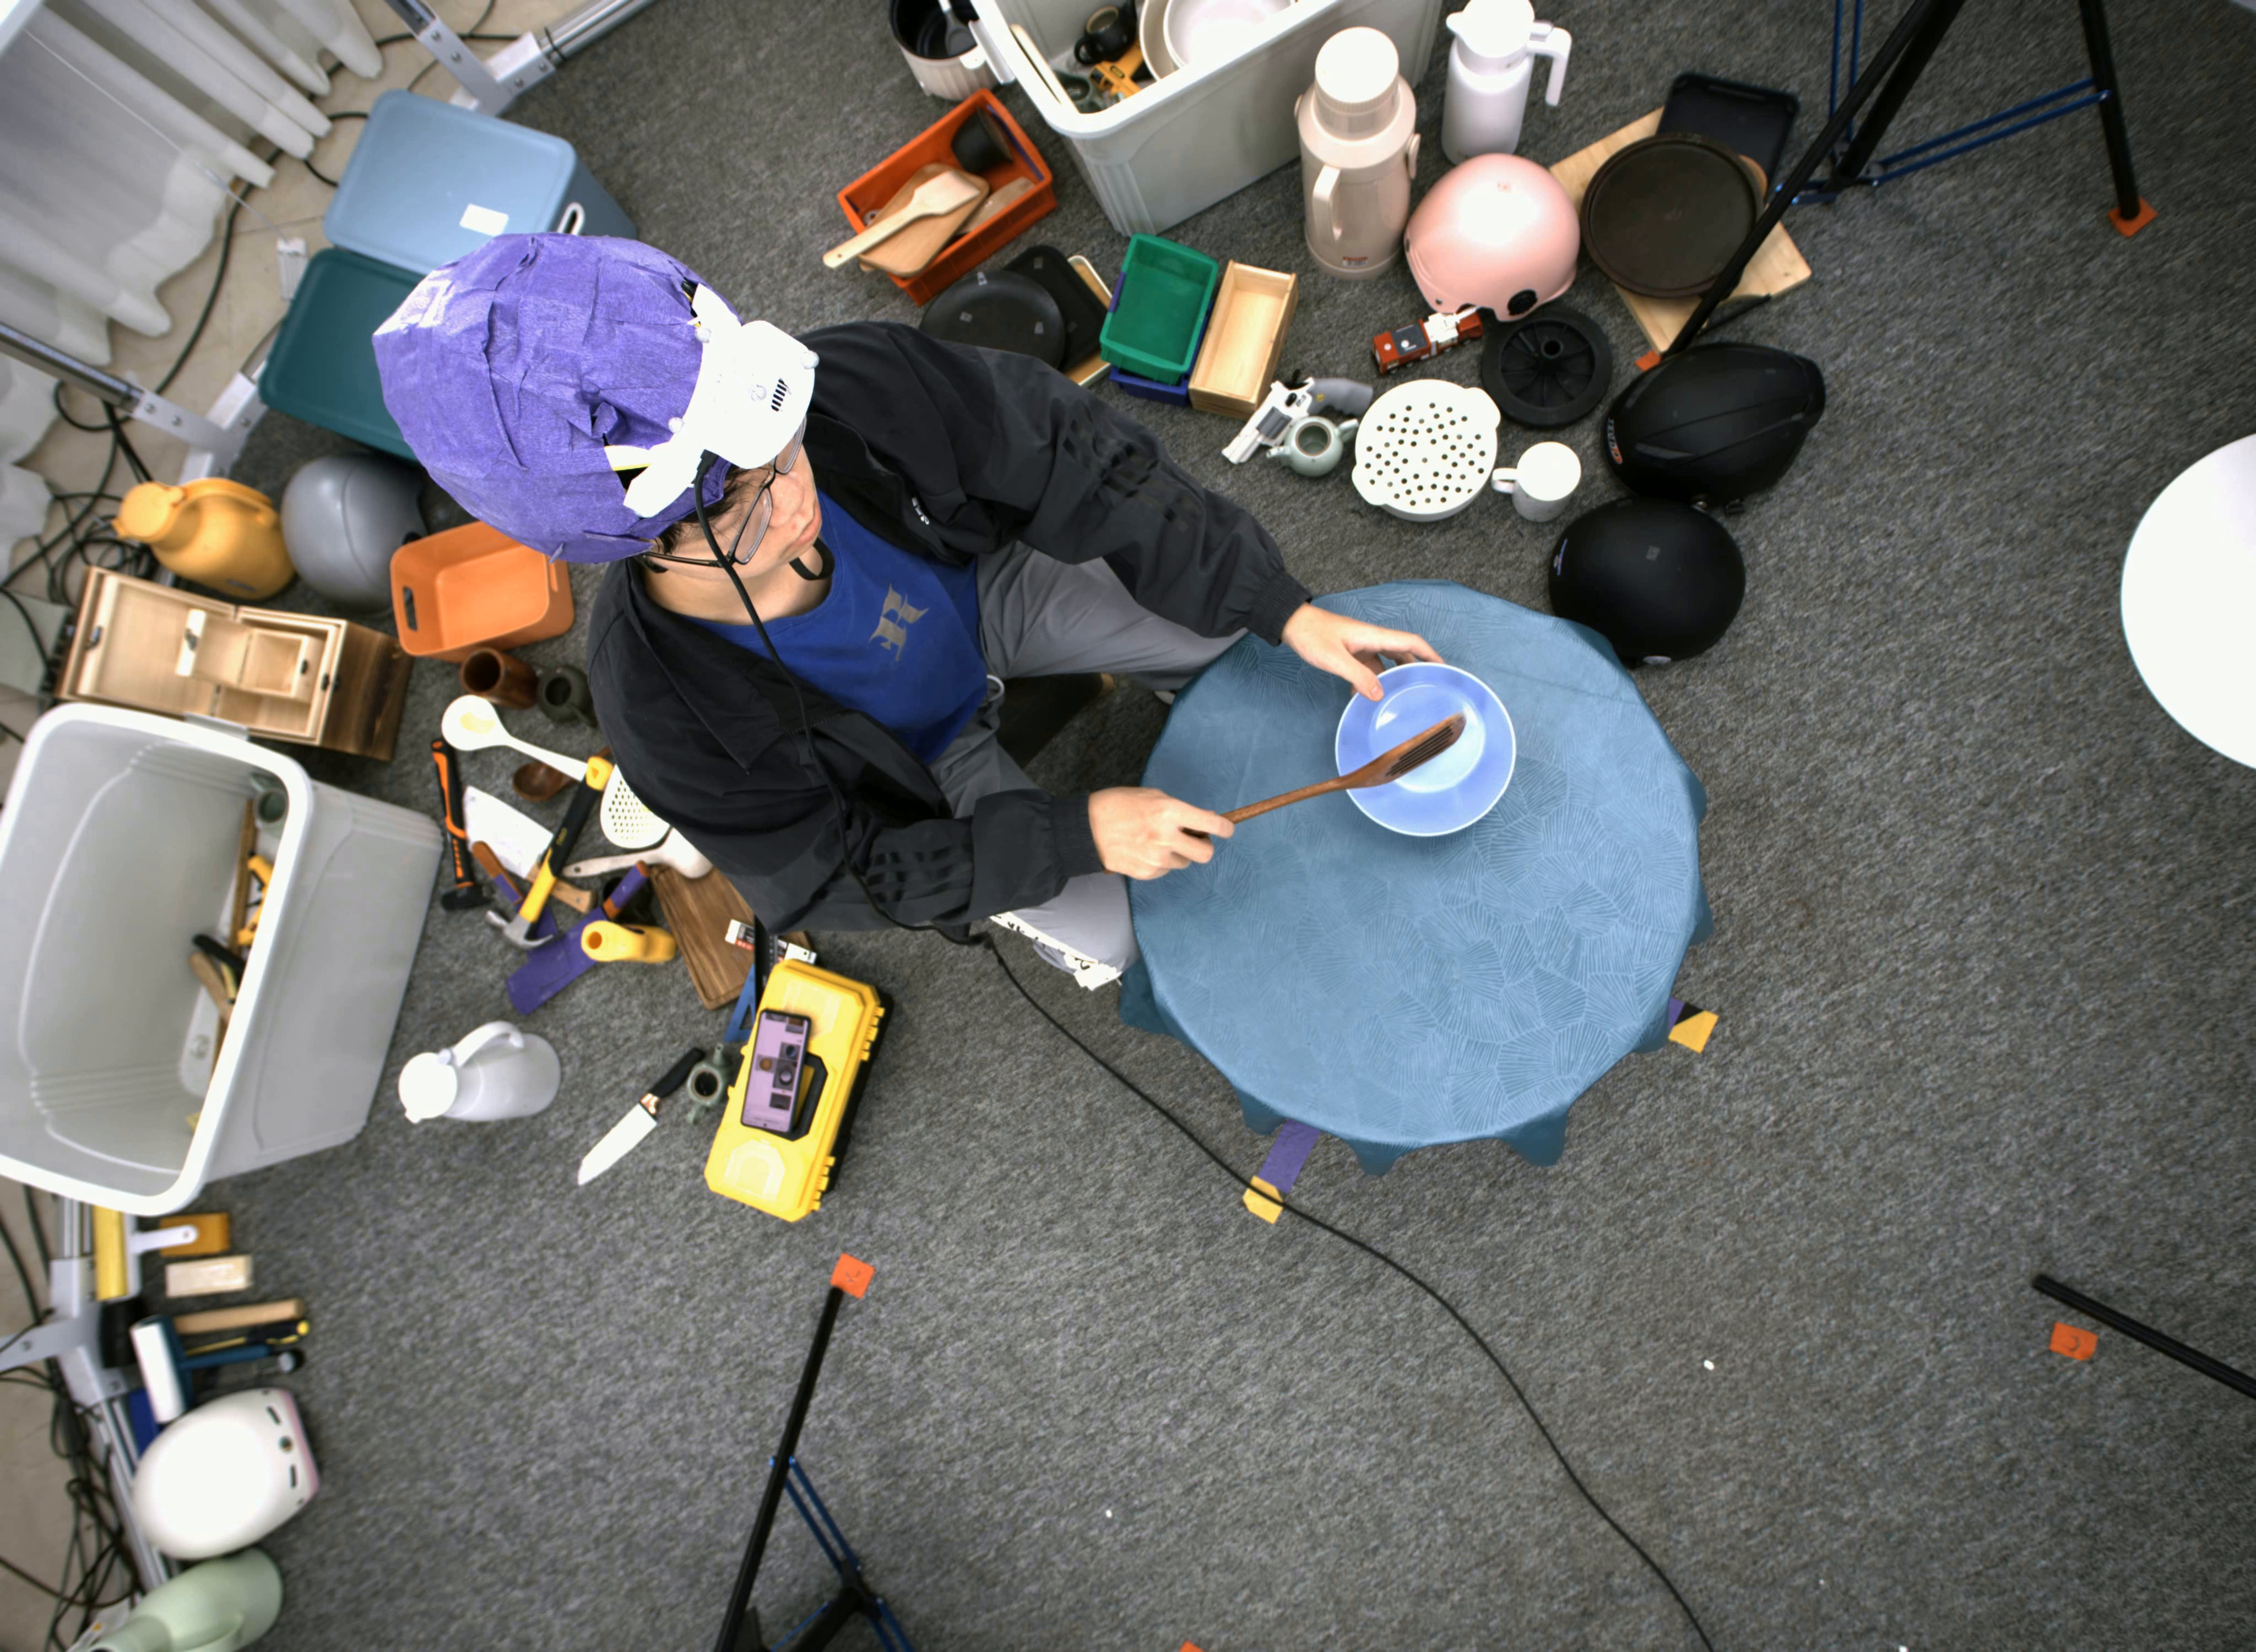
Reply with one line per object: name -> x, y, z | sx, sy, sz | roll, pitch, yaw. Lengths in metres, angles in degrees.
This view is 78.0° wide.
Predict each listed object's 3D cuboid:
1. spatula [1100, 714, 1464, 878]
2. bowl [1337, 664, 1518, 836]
spatula -> 0.151, -0.023, 1.360 | 0.389, 0.086, 0.023 | -21, 71, 10
bowl -> 0.302, -0.084, 1.382 | 0.176, 0.069, 0.179 | 5, 111, 14
